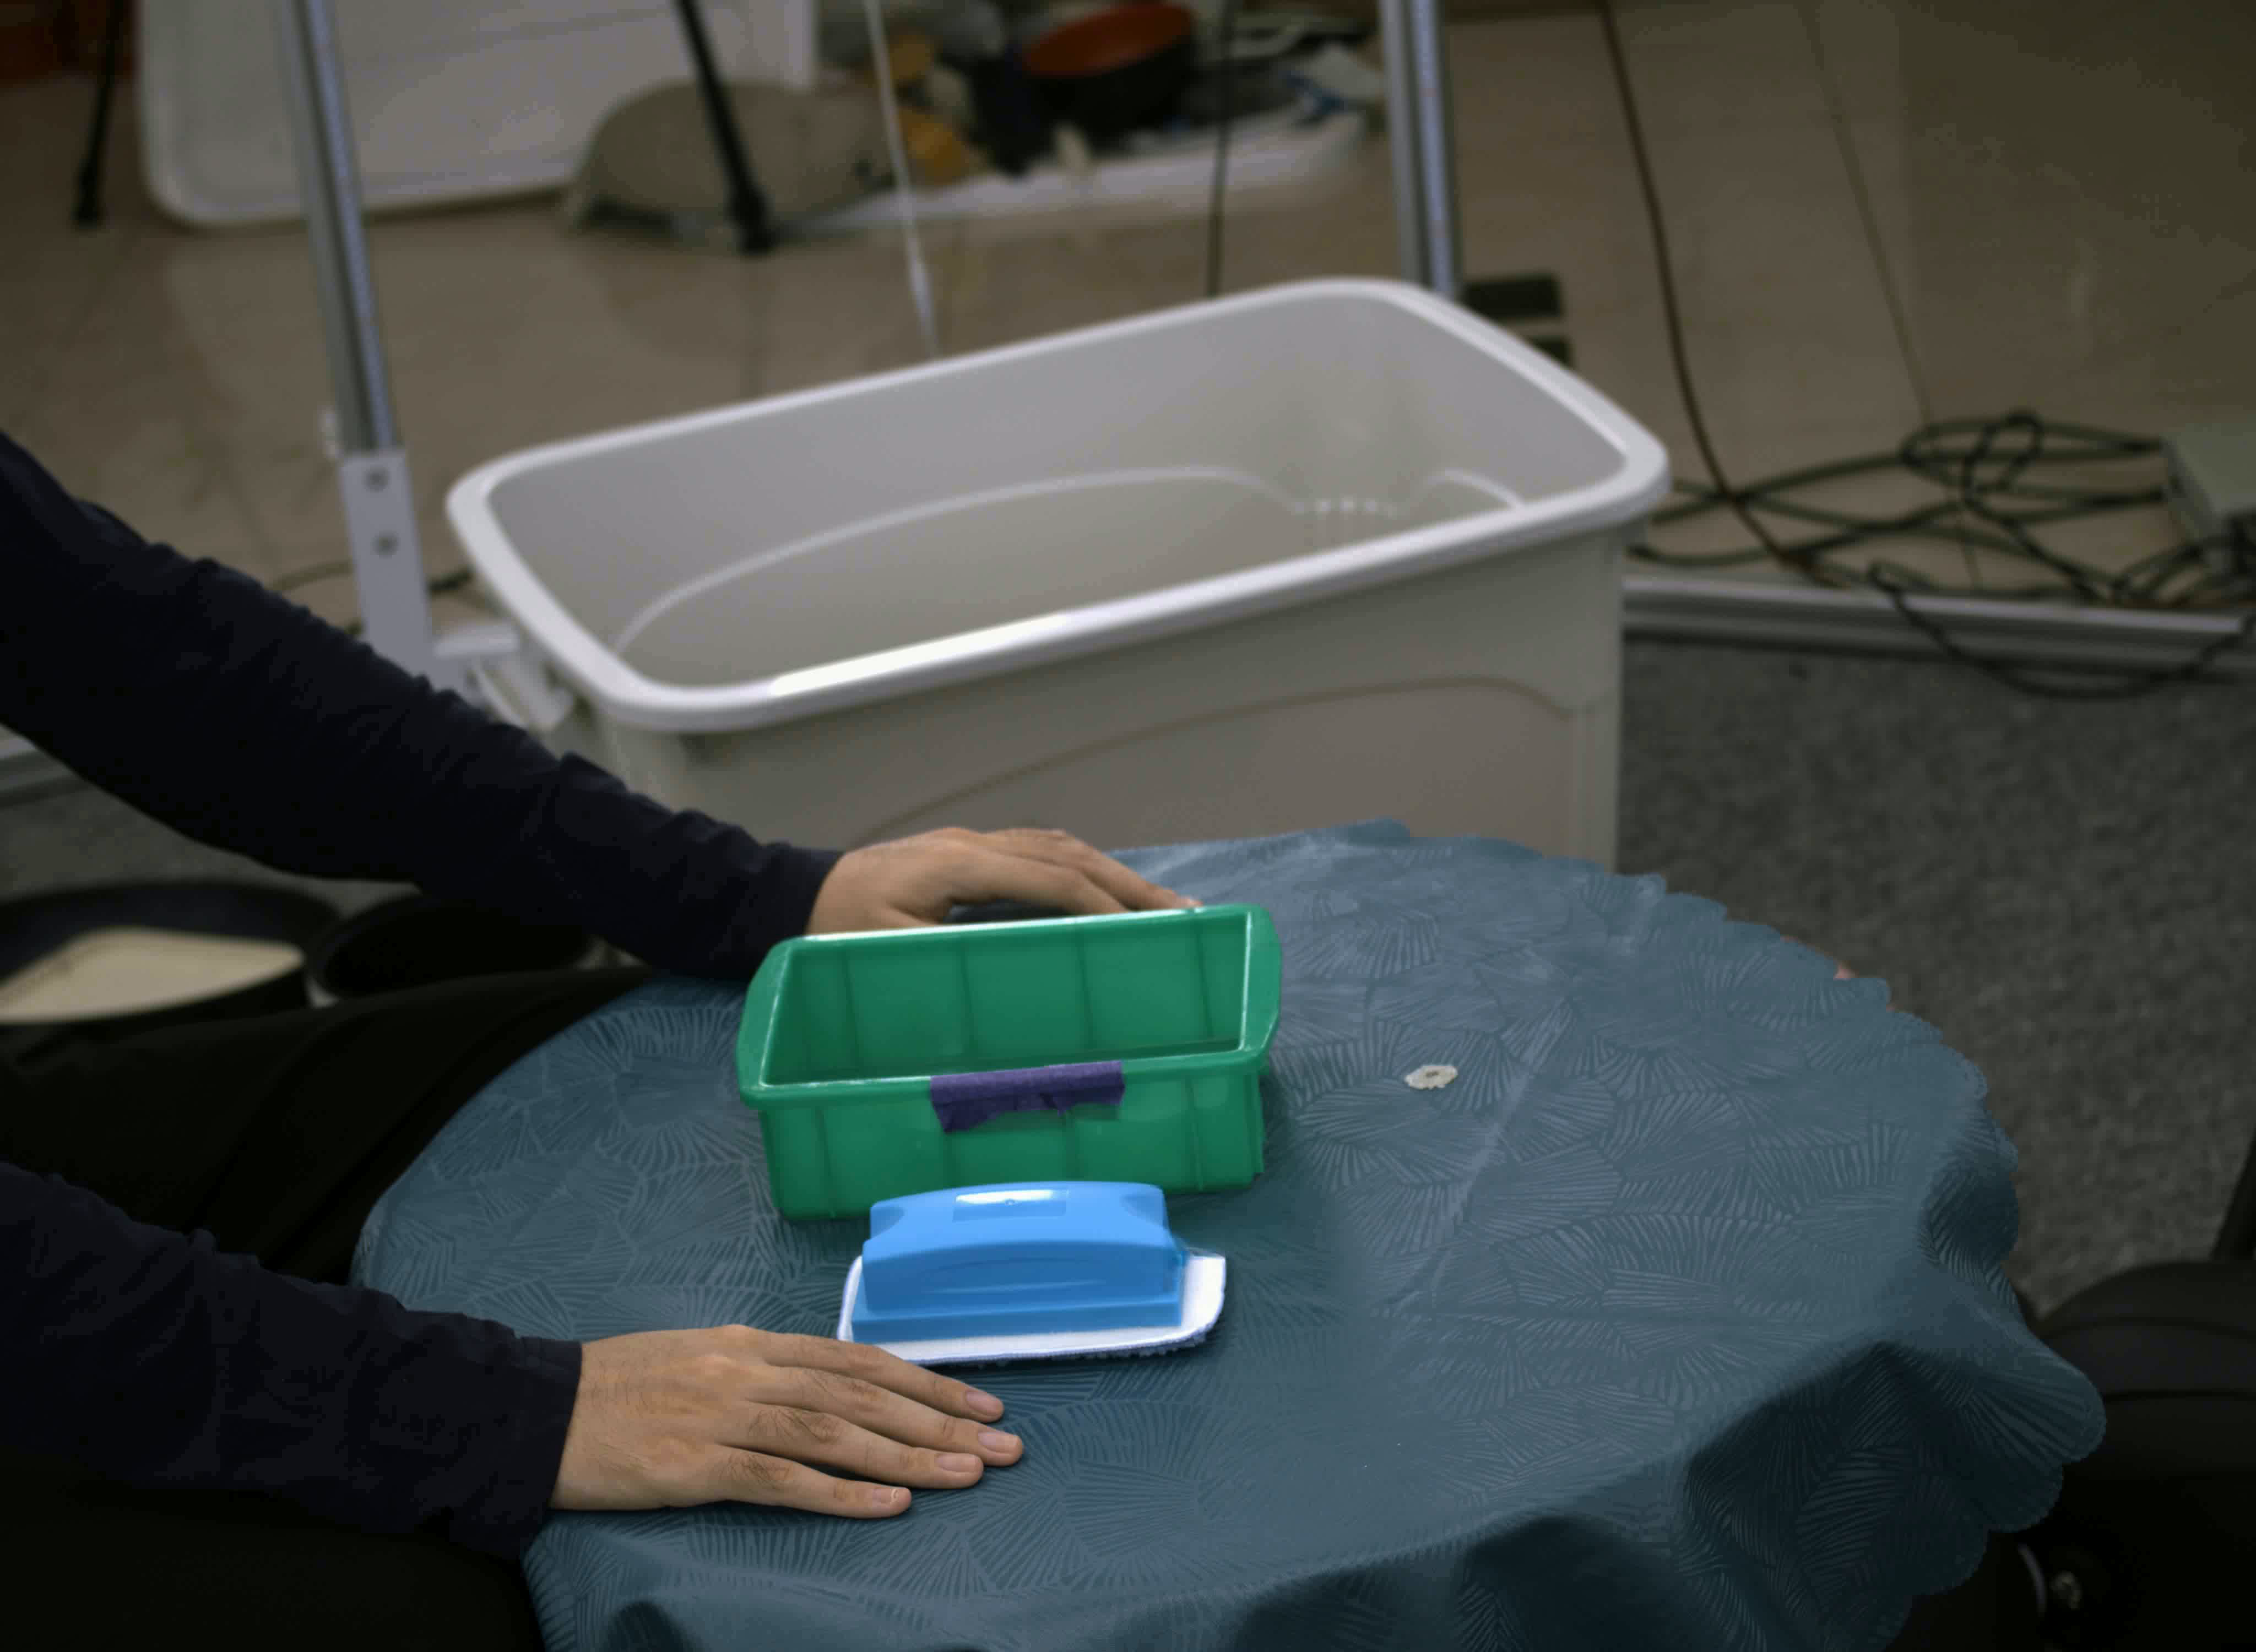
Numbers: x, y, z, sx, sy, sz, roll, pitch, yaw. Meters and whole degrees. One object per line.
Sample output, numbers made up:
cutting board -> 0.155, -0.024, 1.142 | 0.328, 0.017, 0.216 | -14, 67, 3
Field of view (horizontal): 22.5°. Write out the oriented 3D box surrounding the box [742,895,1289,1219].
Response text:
box -> -0.040, 0.091, 2.187 | 0.210, 0.066, 0.136 | -4, 27, 3

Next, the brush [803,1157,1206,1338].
brush -> -0.044, 0.151, 2.052 | 0.143, 0.057, 0.082 | 1, 24, 4
